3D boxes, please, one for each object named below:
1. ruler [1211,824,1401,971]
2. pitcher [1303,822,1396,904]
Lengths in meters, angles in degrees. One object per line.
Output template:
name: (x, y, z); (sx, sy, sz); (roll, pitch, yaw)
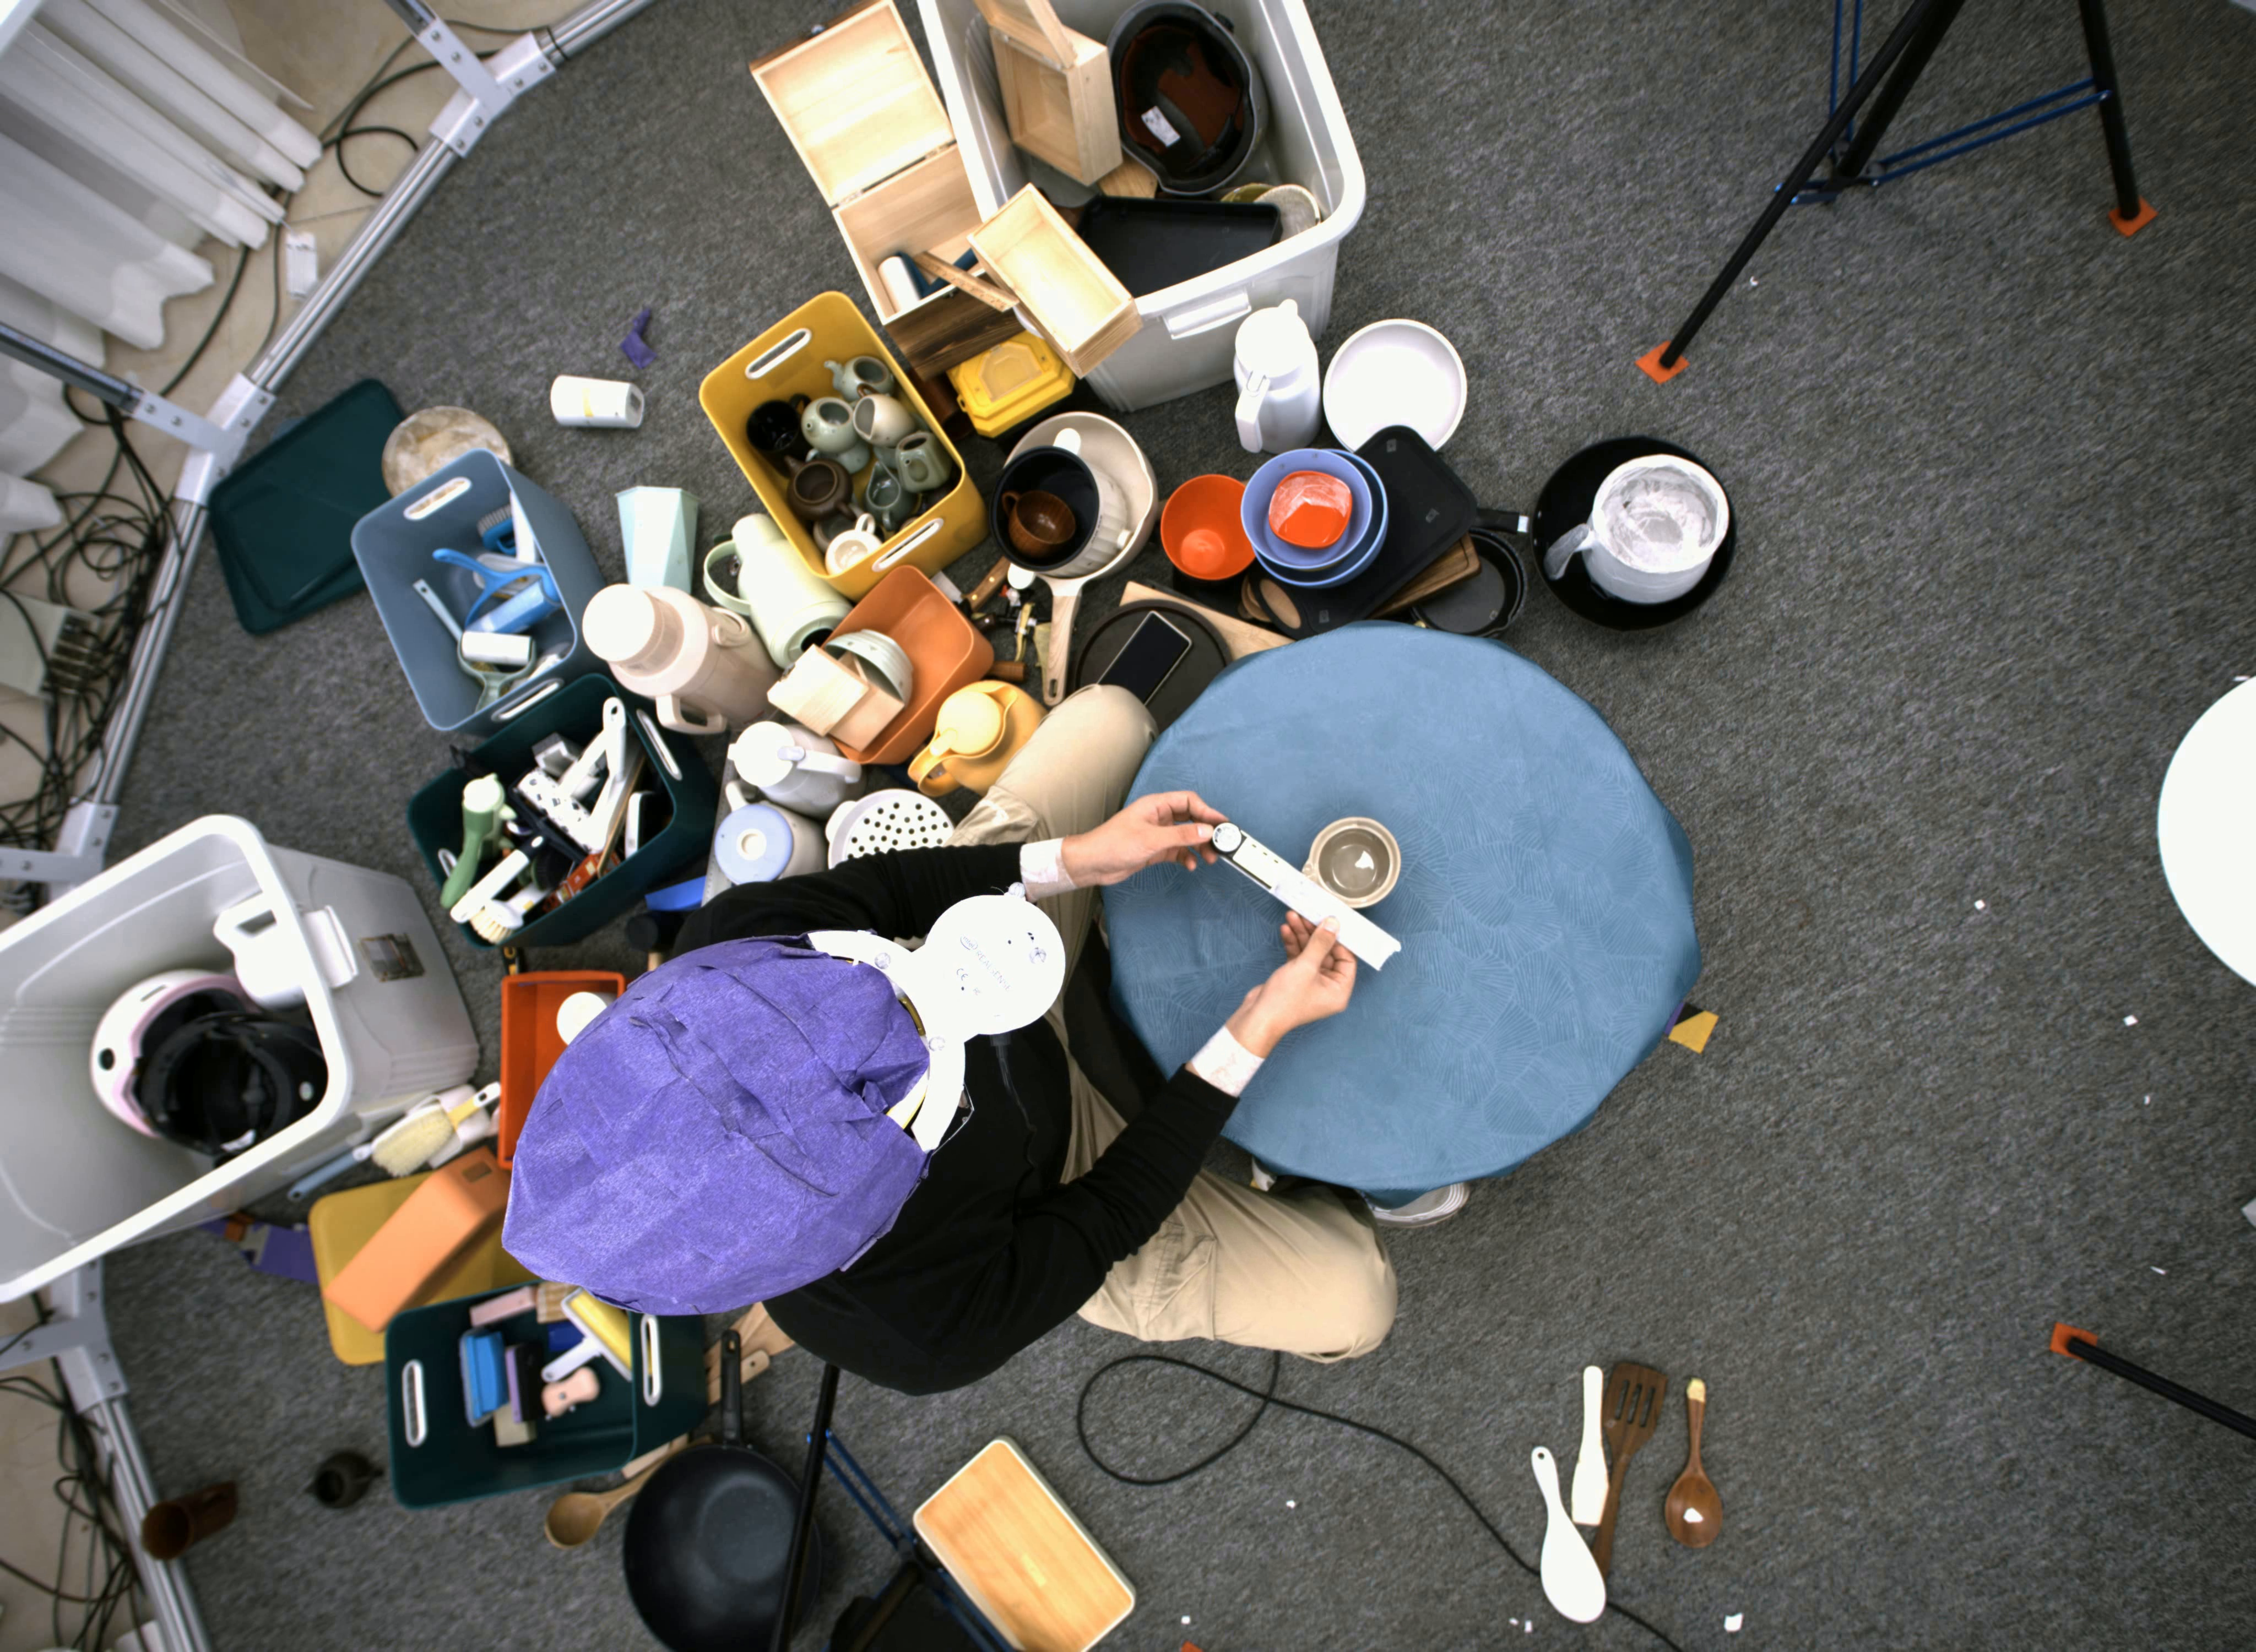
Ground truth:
ruler: (0.175, 0.067, 1.386); (0.218, 0.024, 0.038); (35, 92, 6)
pitcher: (0.229, 0.040, 1.432); (0.096, 0.071, 0.083); (-13, 84, 8)
